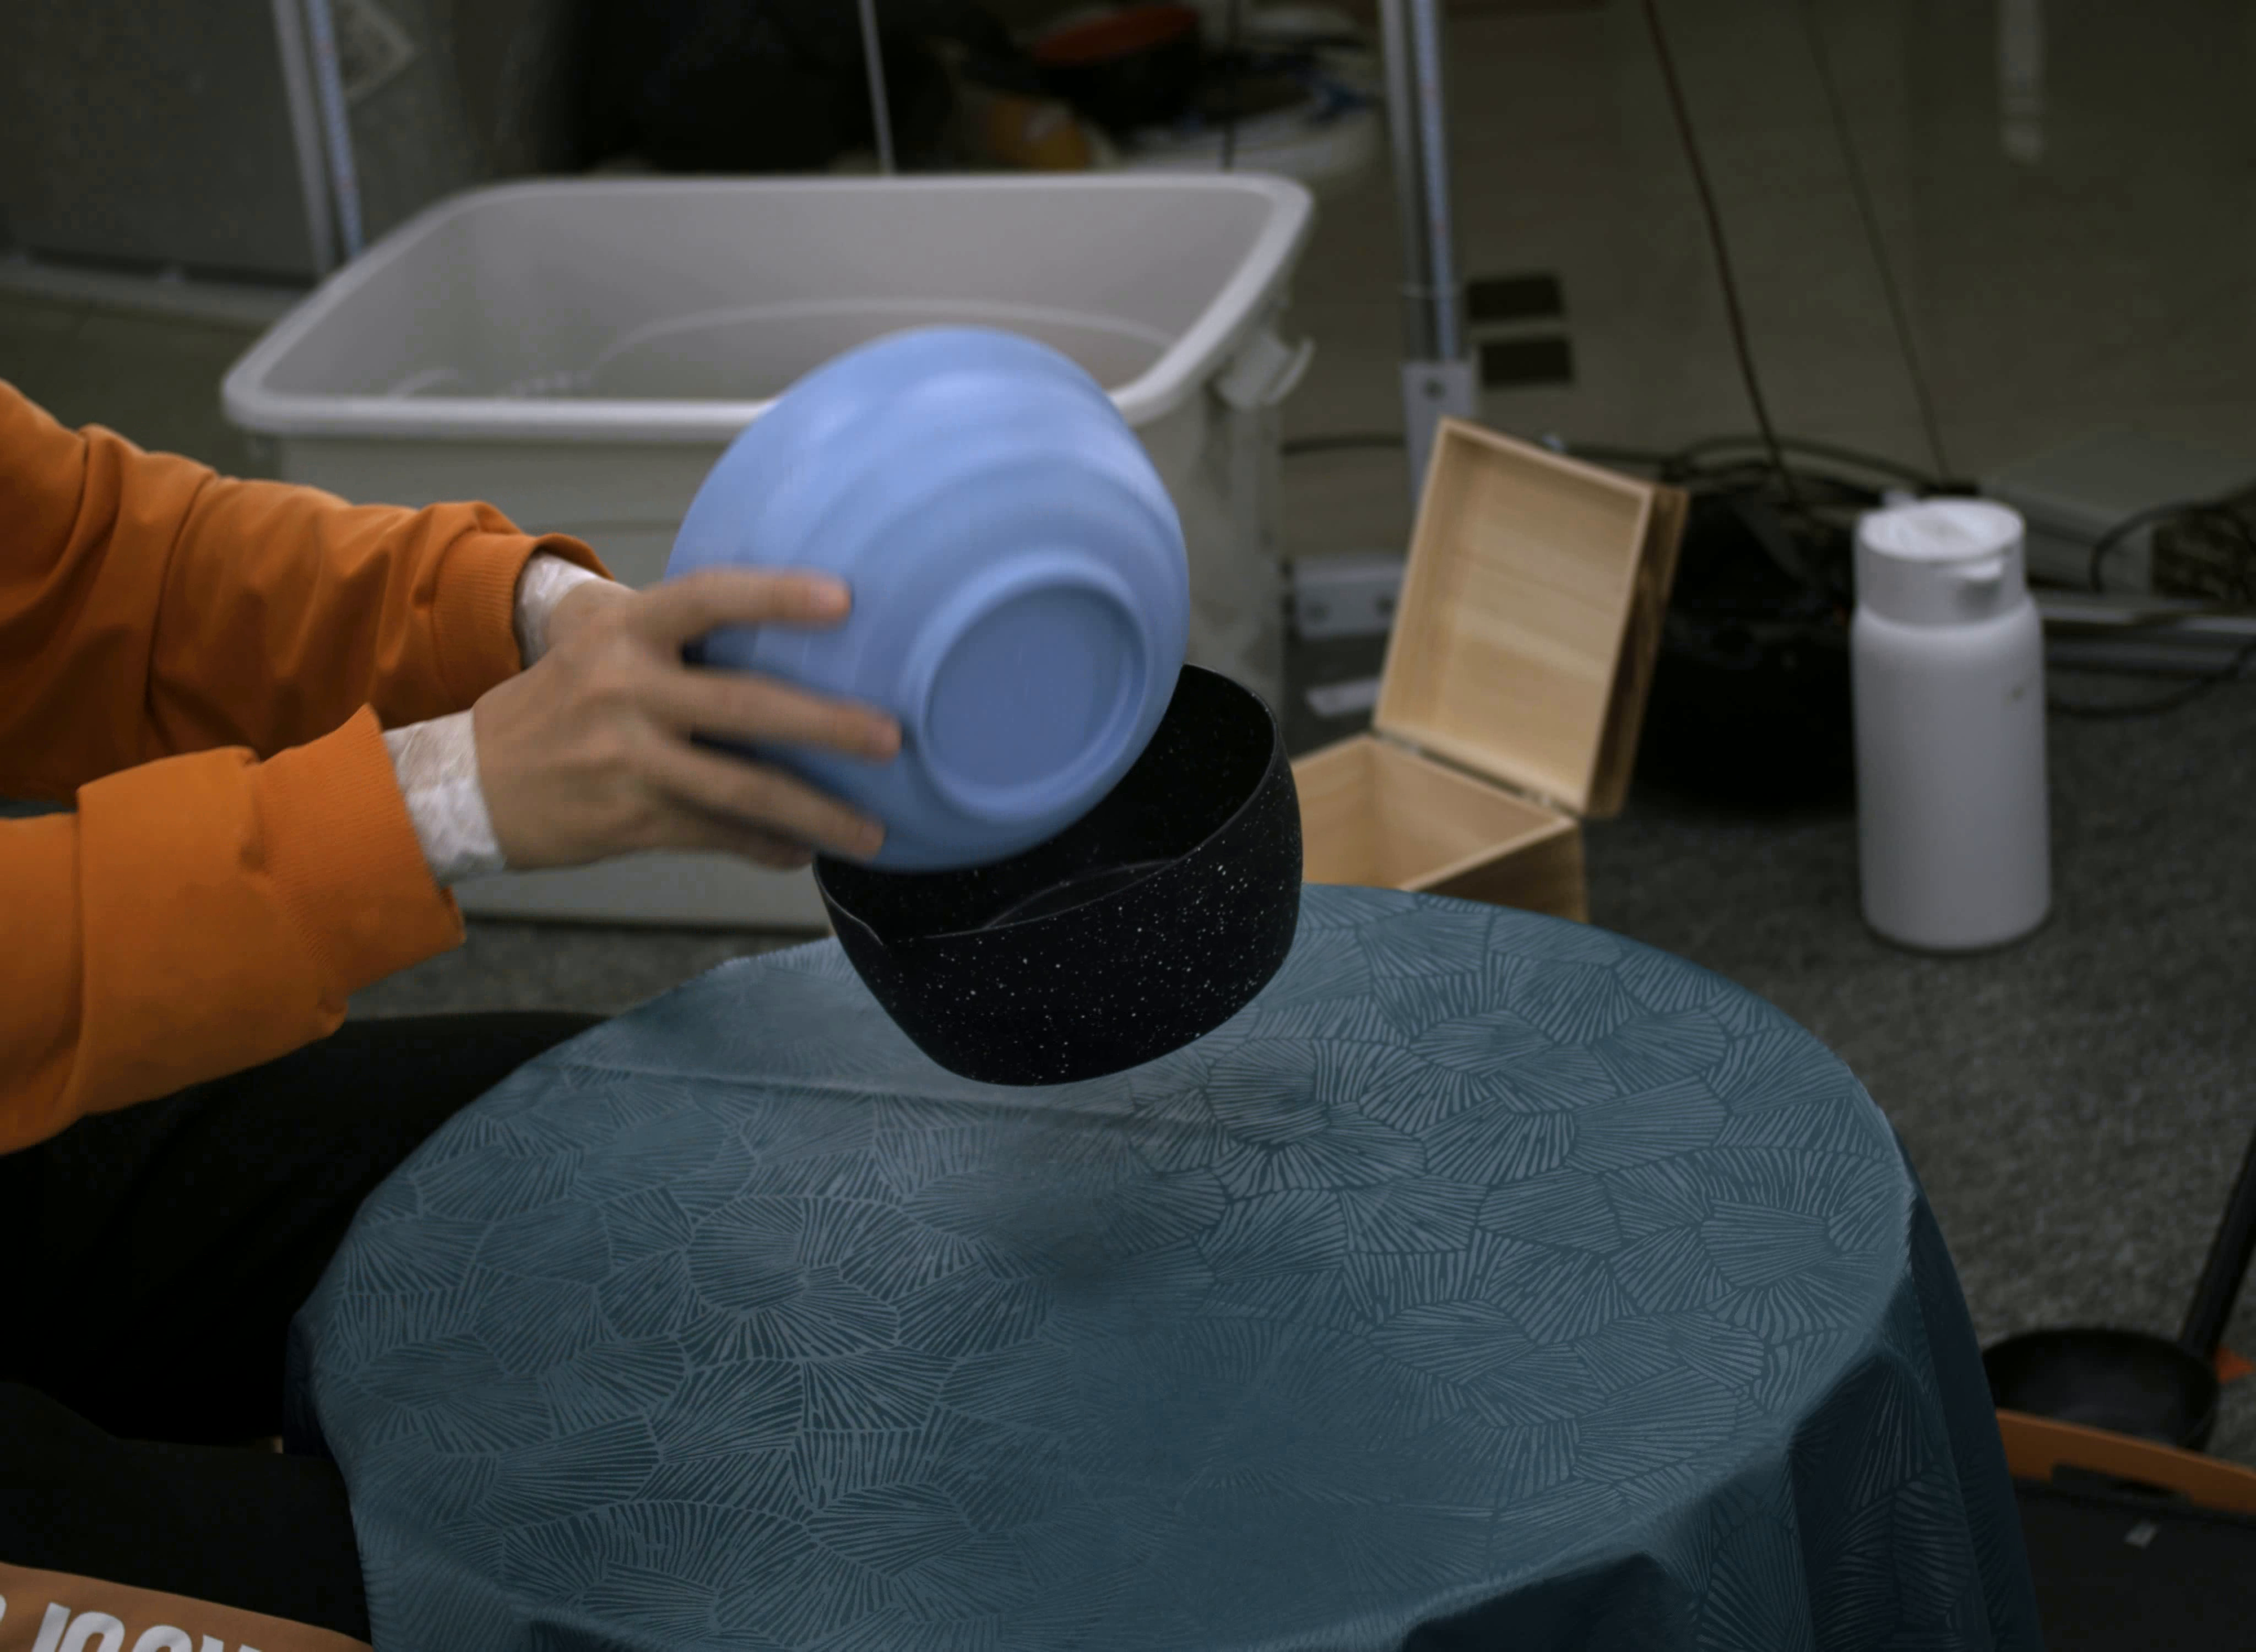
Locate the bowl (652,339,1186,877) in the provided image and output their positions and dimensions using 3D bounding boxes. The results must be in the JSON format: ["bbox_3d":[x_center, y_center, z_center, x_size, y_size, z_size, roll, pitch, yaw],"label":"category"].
[{"bbox_3d":[-0.056,-0.059,1.939,0.195,0.200,0.094,-18,39,-24],"label":"bowl"}]

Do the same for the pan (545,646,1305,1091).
[{"bbox_3d":[-0.085,0.006,2.186,0.341,0.110,0.205,7,39,37],"label":"pan"}]
